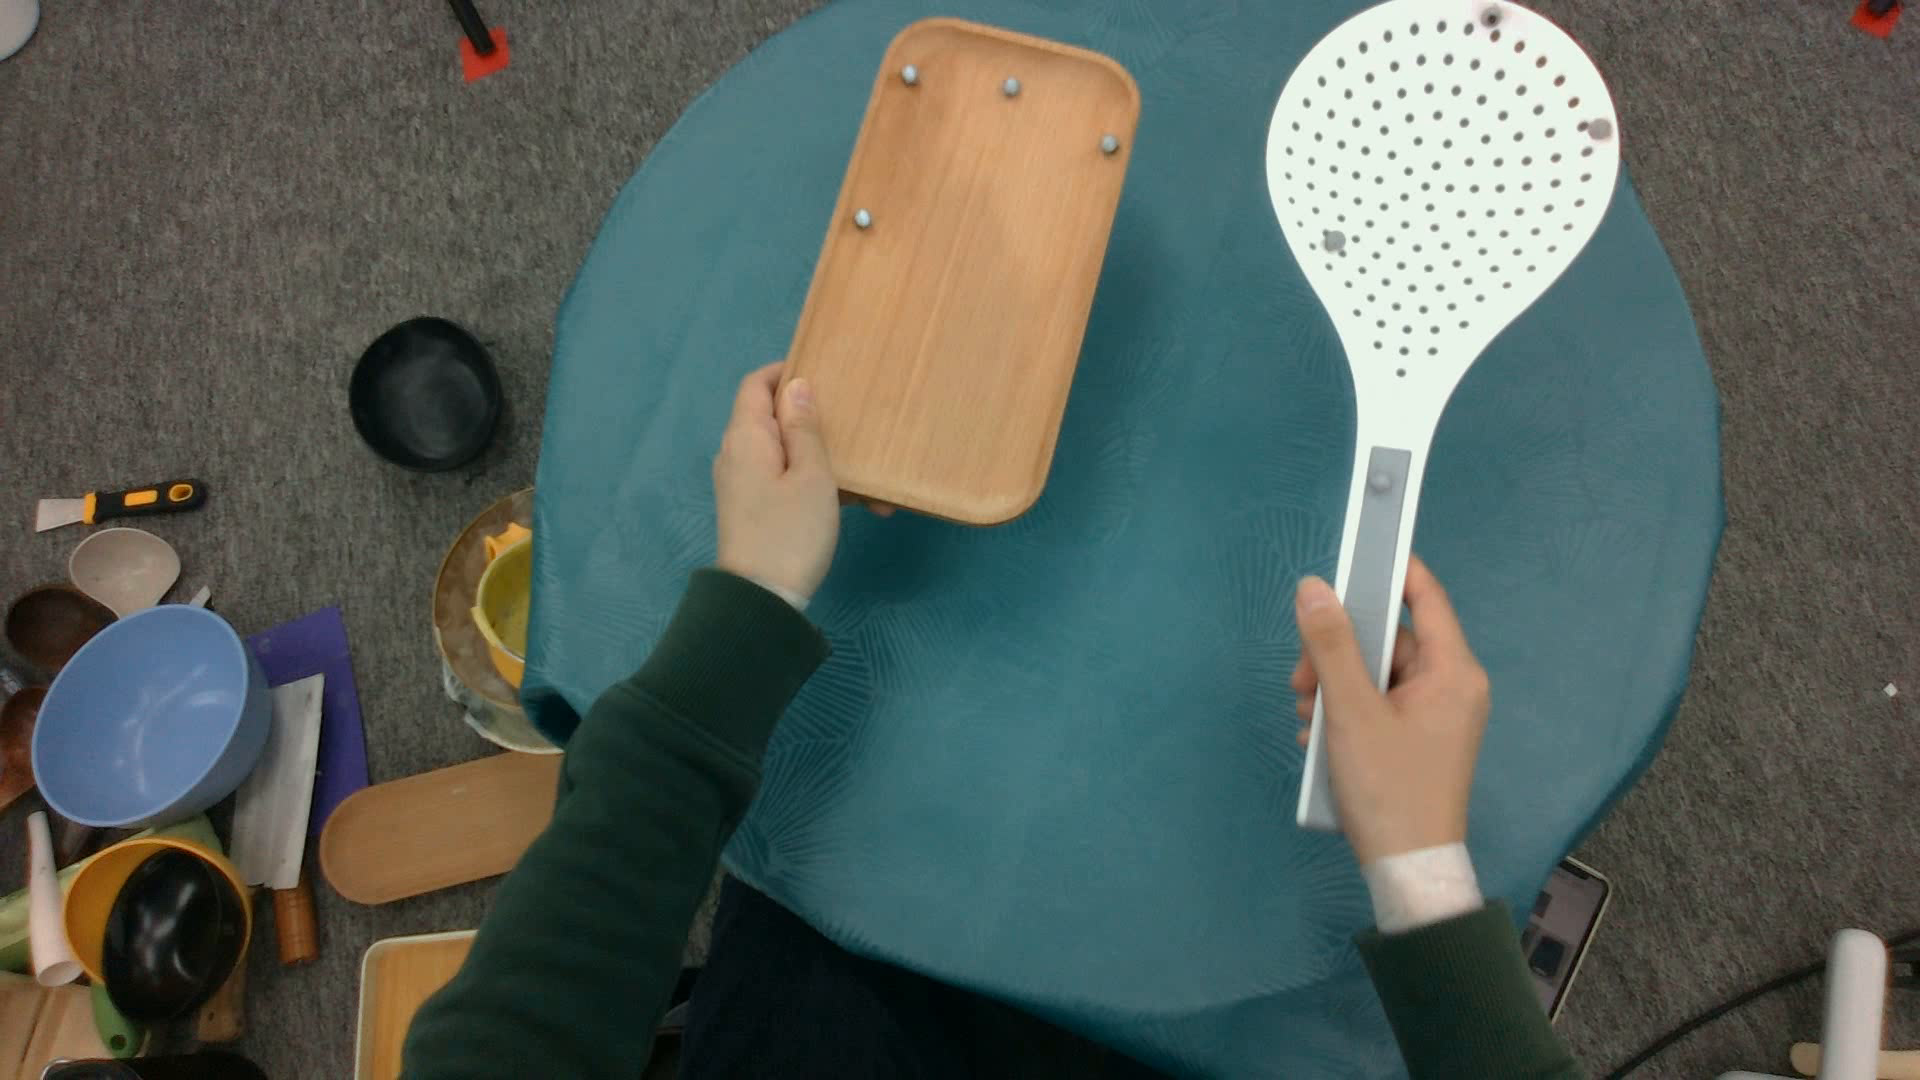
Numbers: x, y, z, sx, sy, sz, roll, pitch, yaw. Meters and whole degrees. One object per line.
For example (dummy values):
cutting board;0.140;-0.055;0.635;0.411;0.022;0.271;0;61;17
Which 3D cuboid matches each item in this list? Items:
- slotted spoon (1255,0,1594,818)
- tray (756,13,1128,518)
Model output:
slotted spoon;0.174;-0.061;0.568;0.136;0.045;0.350;9;79;13
tray;-0.004;-0.133;0.645;0.130;0.023;0.251;14;73;4
